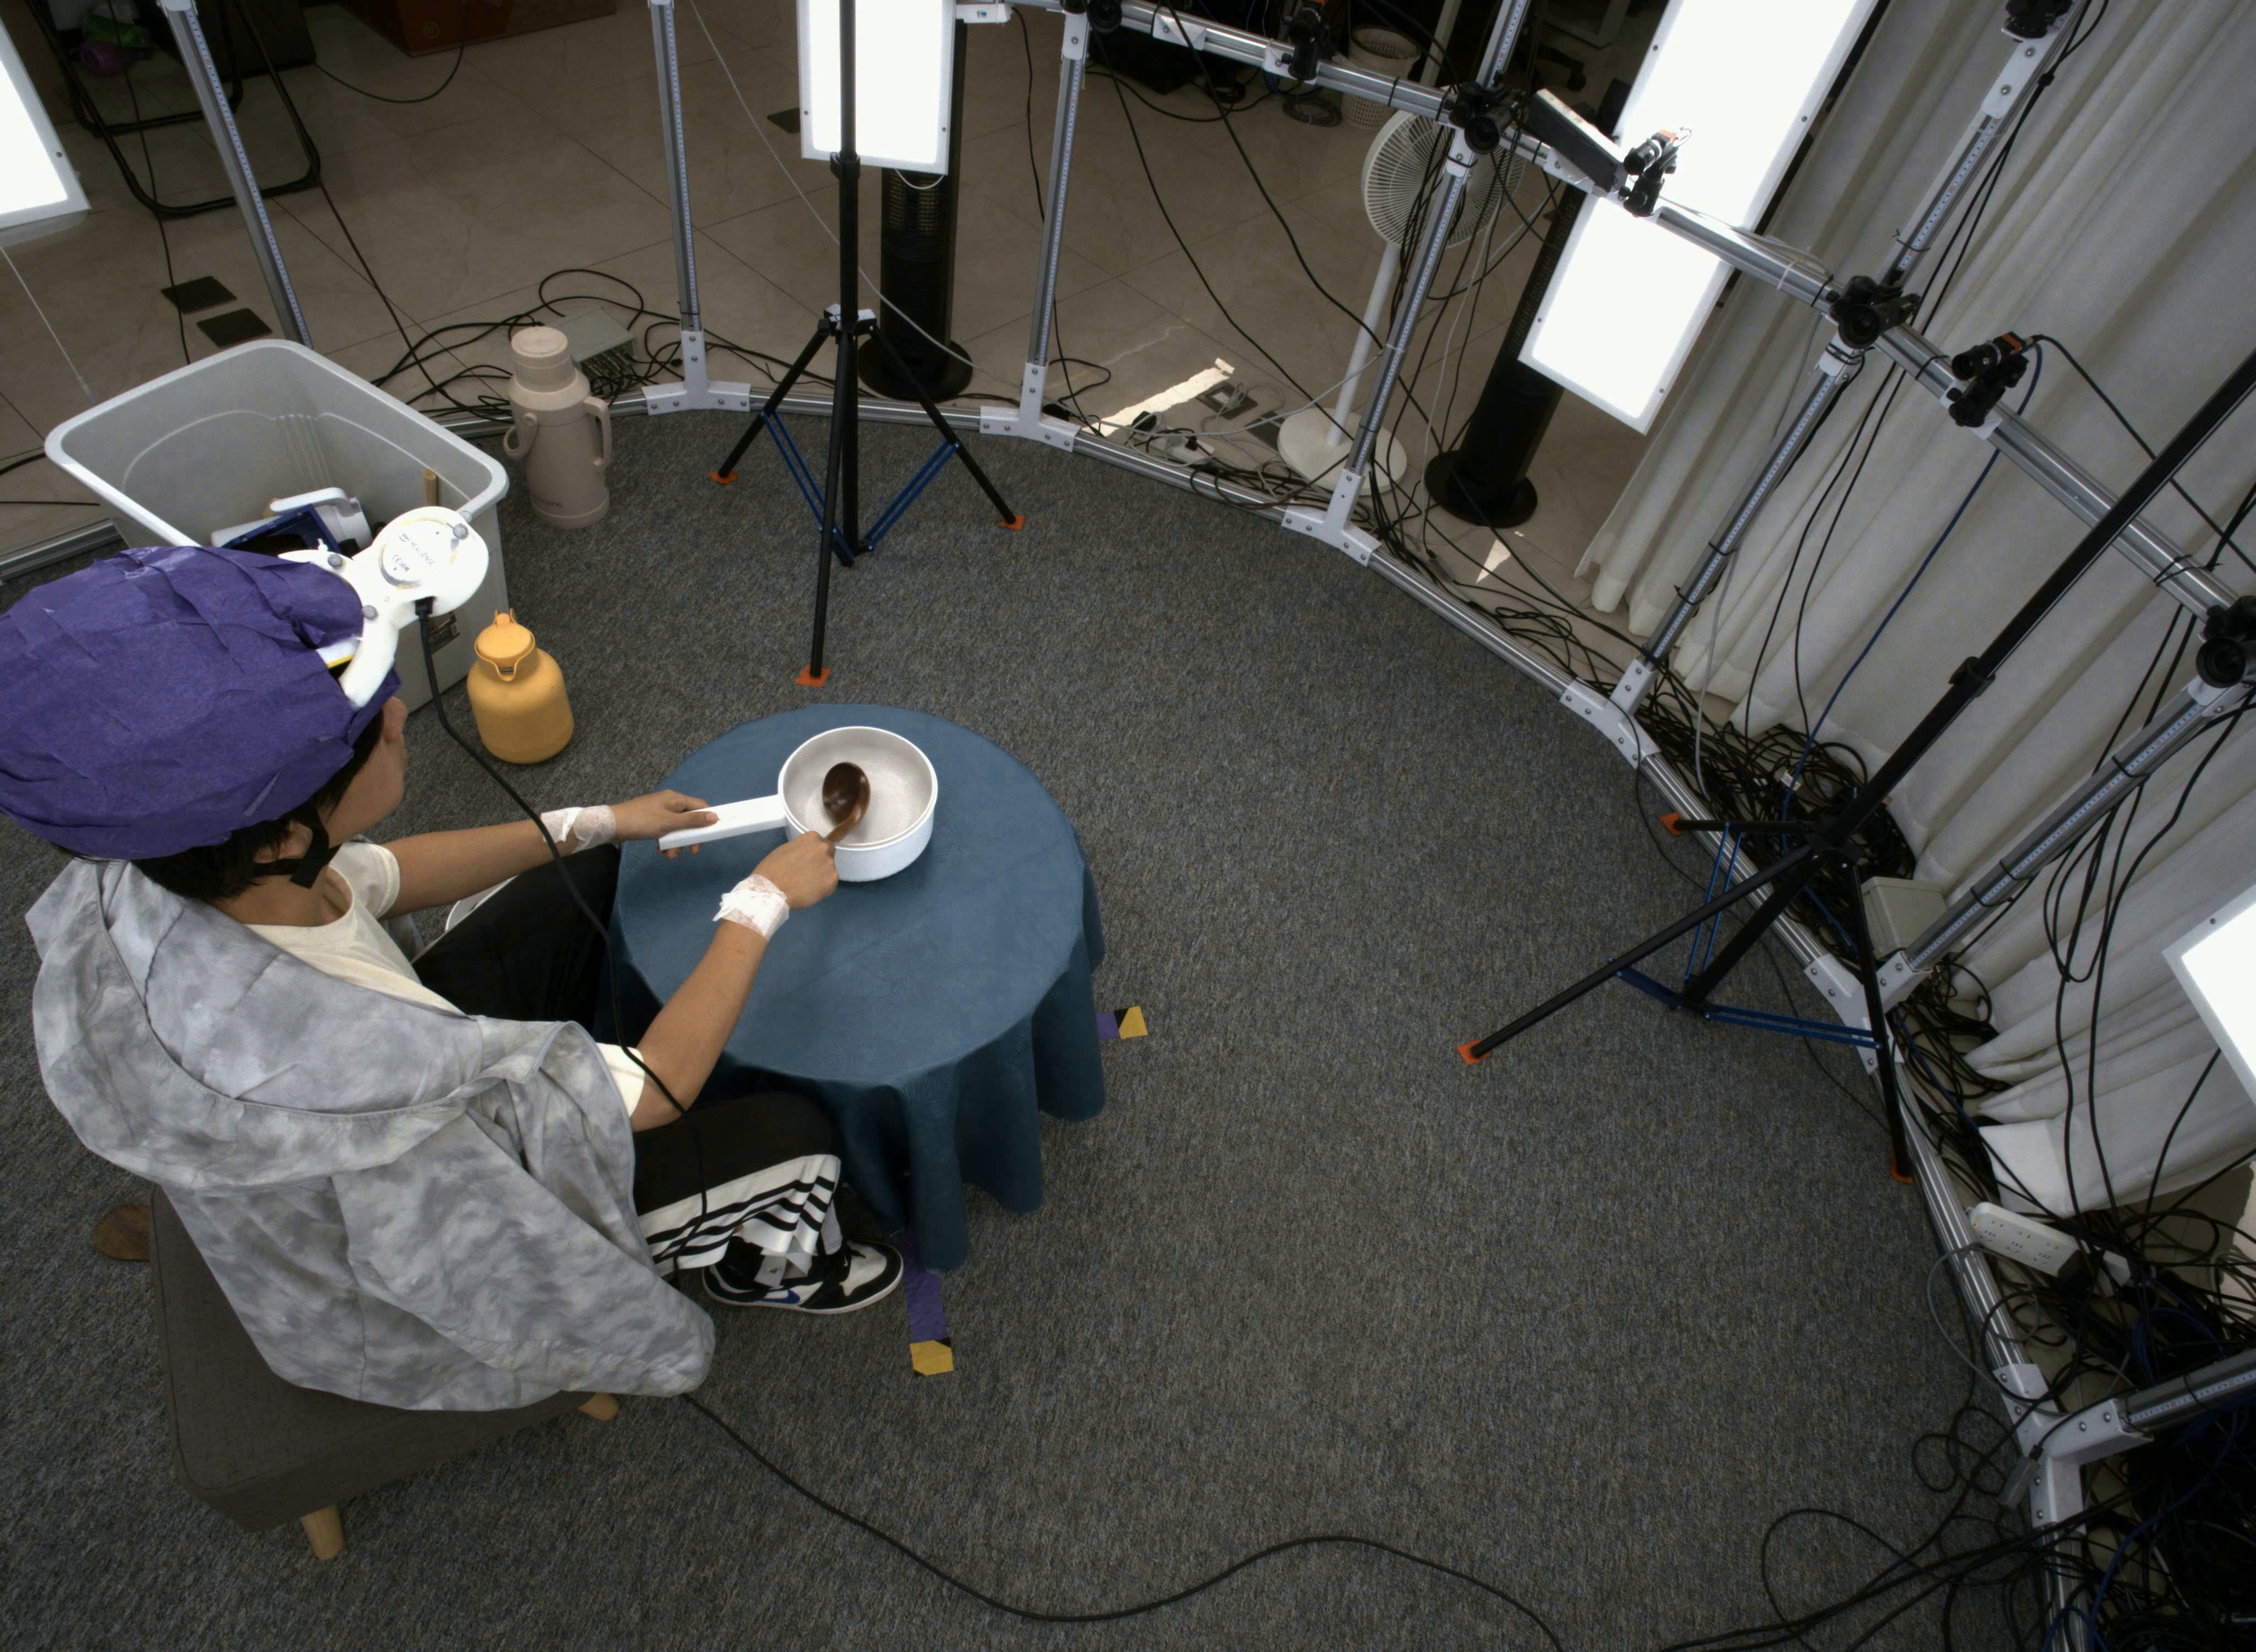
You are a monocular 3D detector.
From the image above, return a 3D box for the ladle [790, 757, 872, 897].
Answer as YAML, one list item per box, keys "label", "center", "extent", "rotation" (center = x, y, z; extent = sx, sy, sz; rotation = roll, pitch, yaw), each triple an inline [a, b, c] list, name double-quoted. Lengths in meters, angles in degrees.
- label: "ladle"
  center: [-0.378, -0.004, 1.575]
  extent: [0.076, 0.083, 0.271]
  rotation: [23, 28, 1]

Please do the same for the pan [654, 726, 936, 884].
- label: "pan"
  center: [-0.423, -0.007, 1.670]
  extent: [0.356, 0.104, 0.196]
  rotation: [-14, 59, -20]
